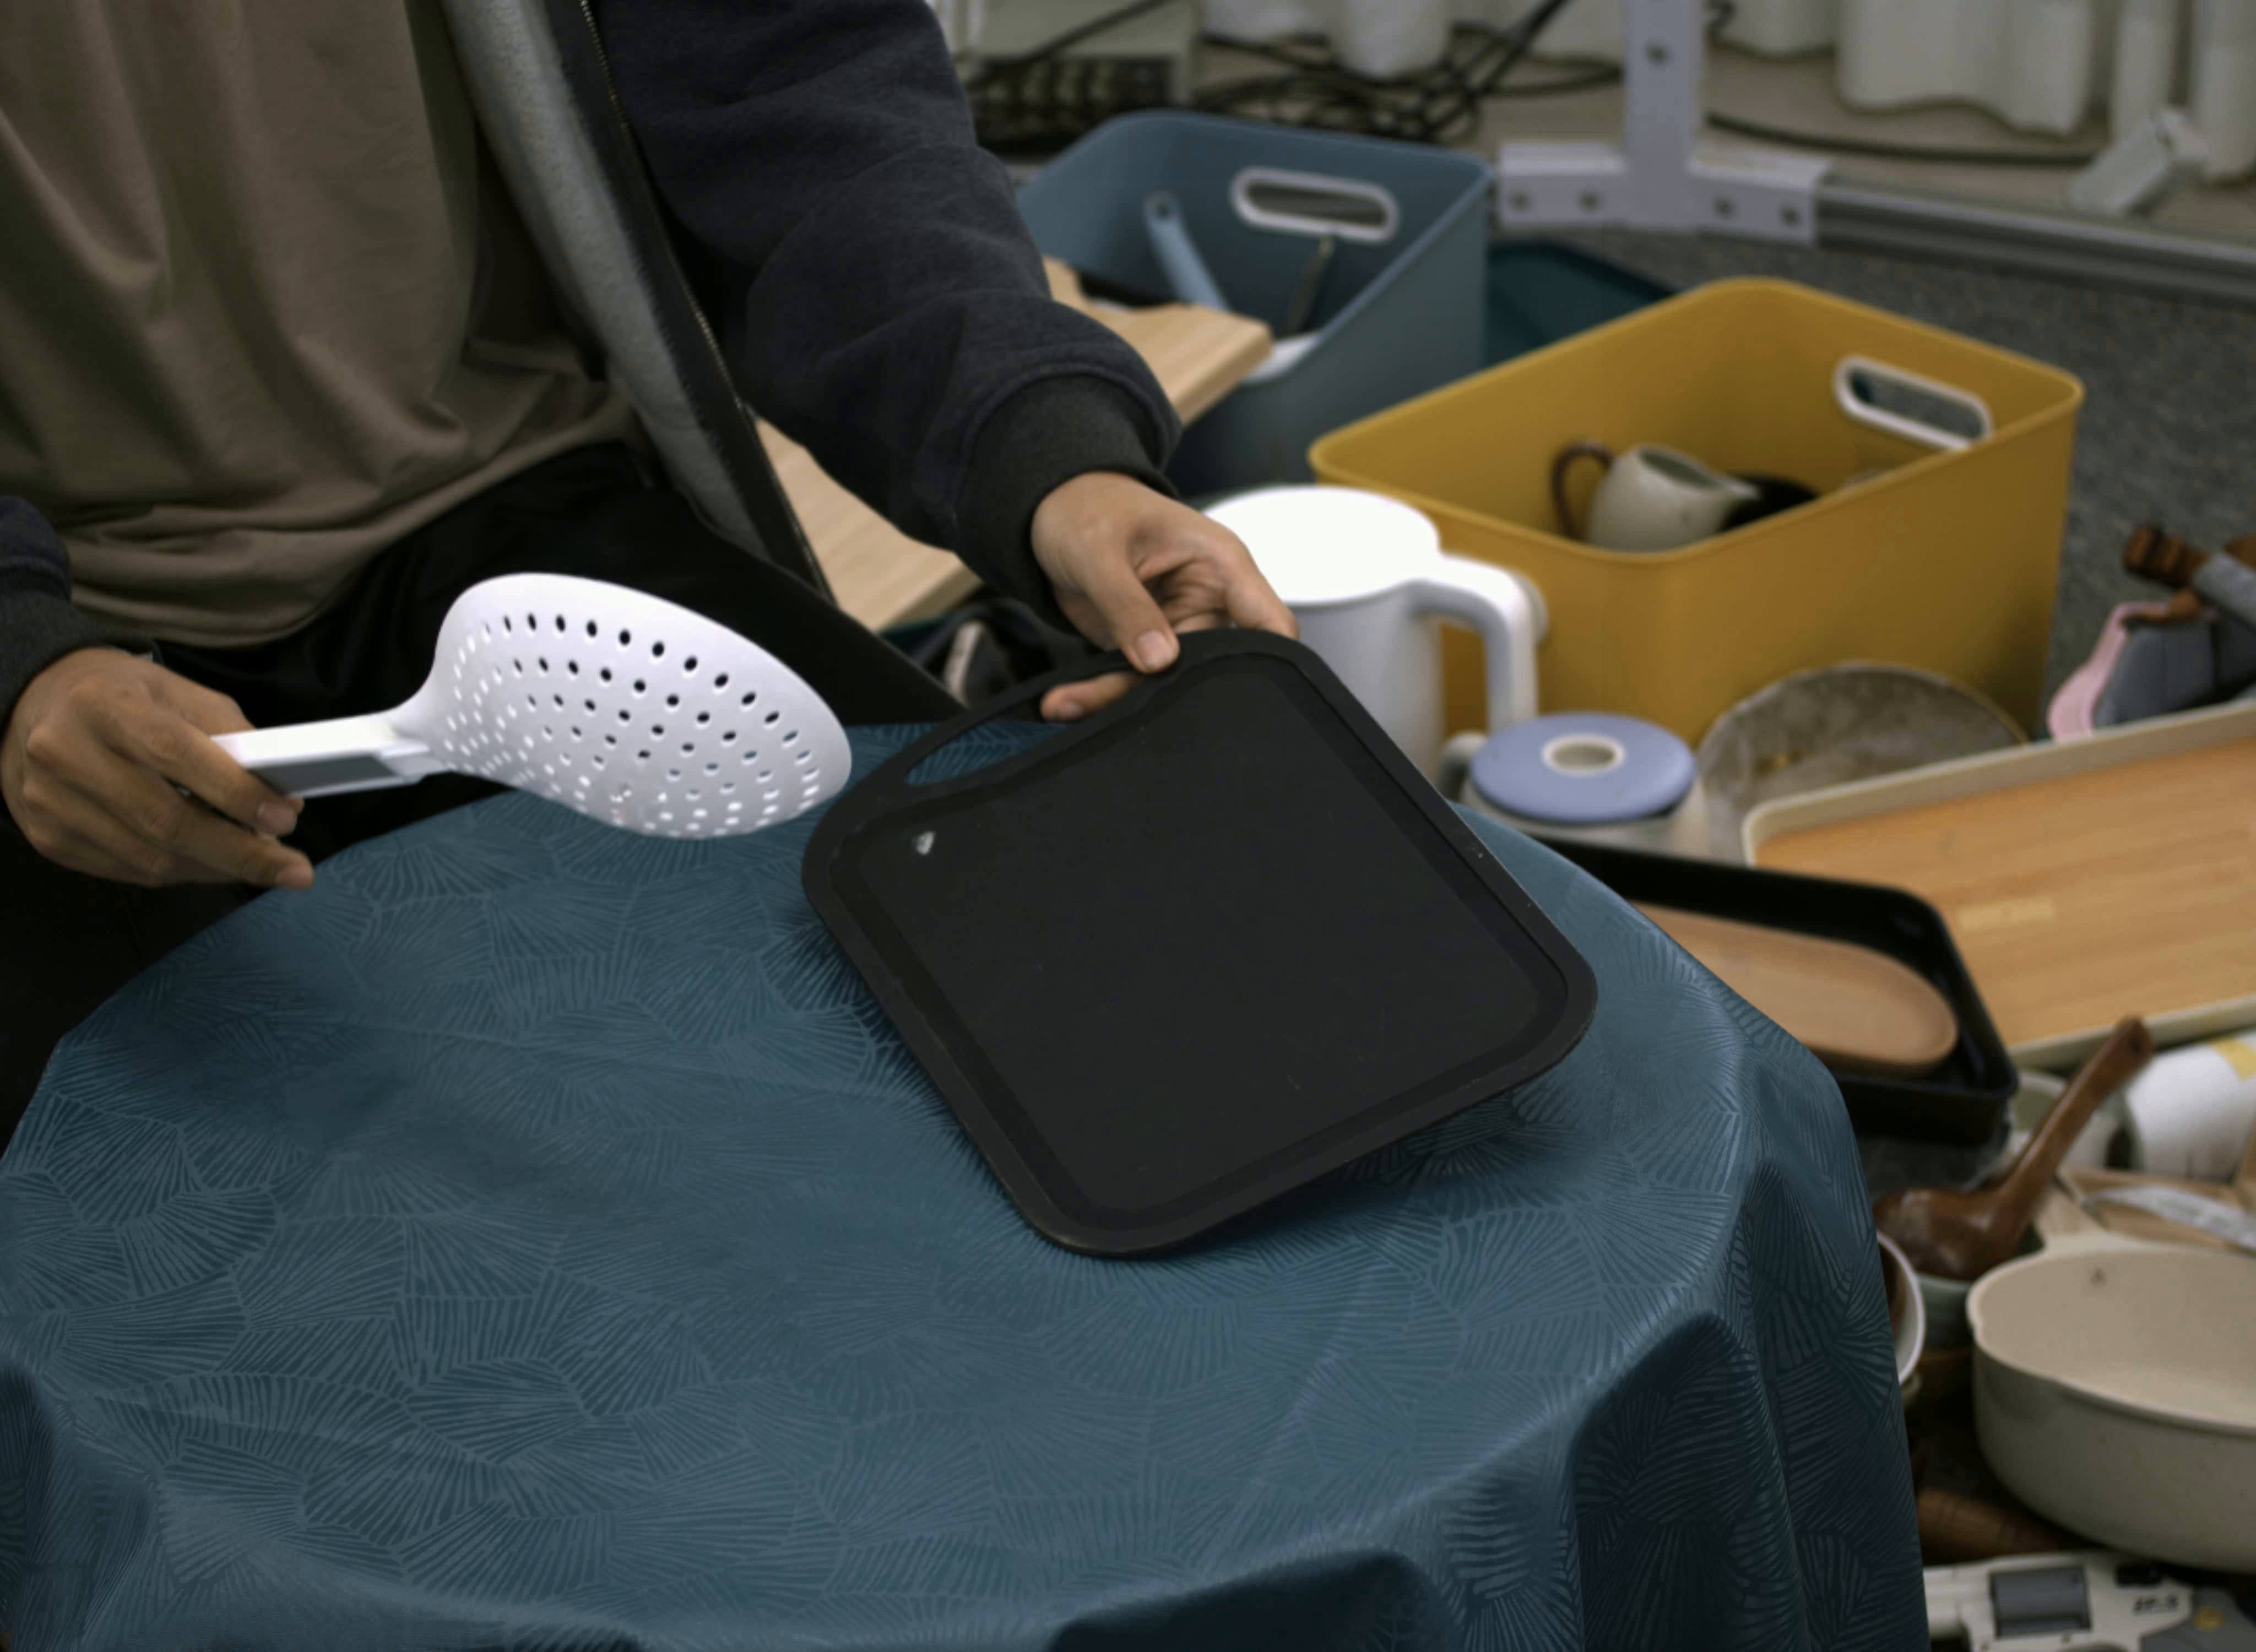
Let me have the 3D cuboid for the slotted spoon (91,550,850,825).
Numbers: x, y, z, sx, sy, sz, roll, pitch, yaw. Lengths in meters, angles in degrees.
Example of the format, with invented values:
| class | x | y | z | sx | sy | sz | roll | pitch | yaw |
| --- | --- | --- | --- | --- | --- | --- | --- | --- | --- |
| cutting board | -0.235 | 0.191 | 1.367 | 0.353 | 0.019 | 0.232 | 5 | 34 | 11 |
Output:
| class | x | y | z | sx | sy | sz | roll | pitch | yaw |
| --- | --- | --- | --- | --- | --- | --- | --- | --- | --- |
| slotted spoon | -0.232 | -0.032 | 1.858 | 0.346 | 0.135 | 0.046 | -1 | 55 | 46 |

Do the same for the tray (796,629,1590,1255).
| class | x | y | z | sx | sy | sz | roll | pitch | yaw |
| --- | --- | --- | --- | --- | --- | --- | --- | --- | --- |
| tray | 0.012 | 0.029 | 1.960 | 0.211 | 0.009 | 0.328 | -24 | 37 | -11 |
